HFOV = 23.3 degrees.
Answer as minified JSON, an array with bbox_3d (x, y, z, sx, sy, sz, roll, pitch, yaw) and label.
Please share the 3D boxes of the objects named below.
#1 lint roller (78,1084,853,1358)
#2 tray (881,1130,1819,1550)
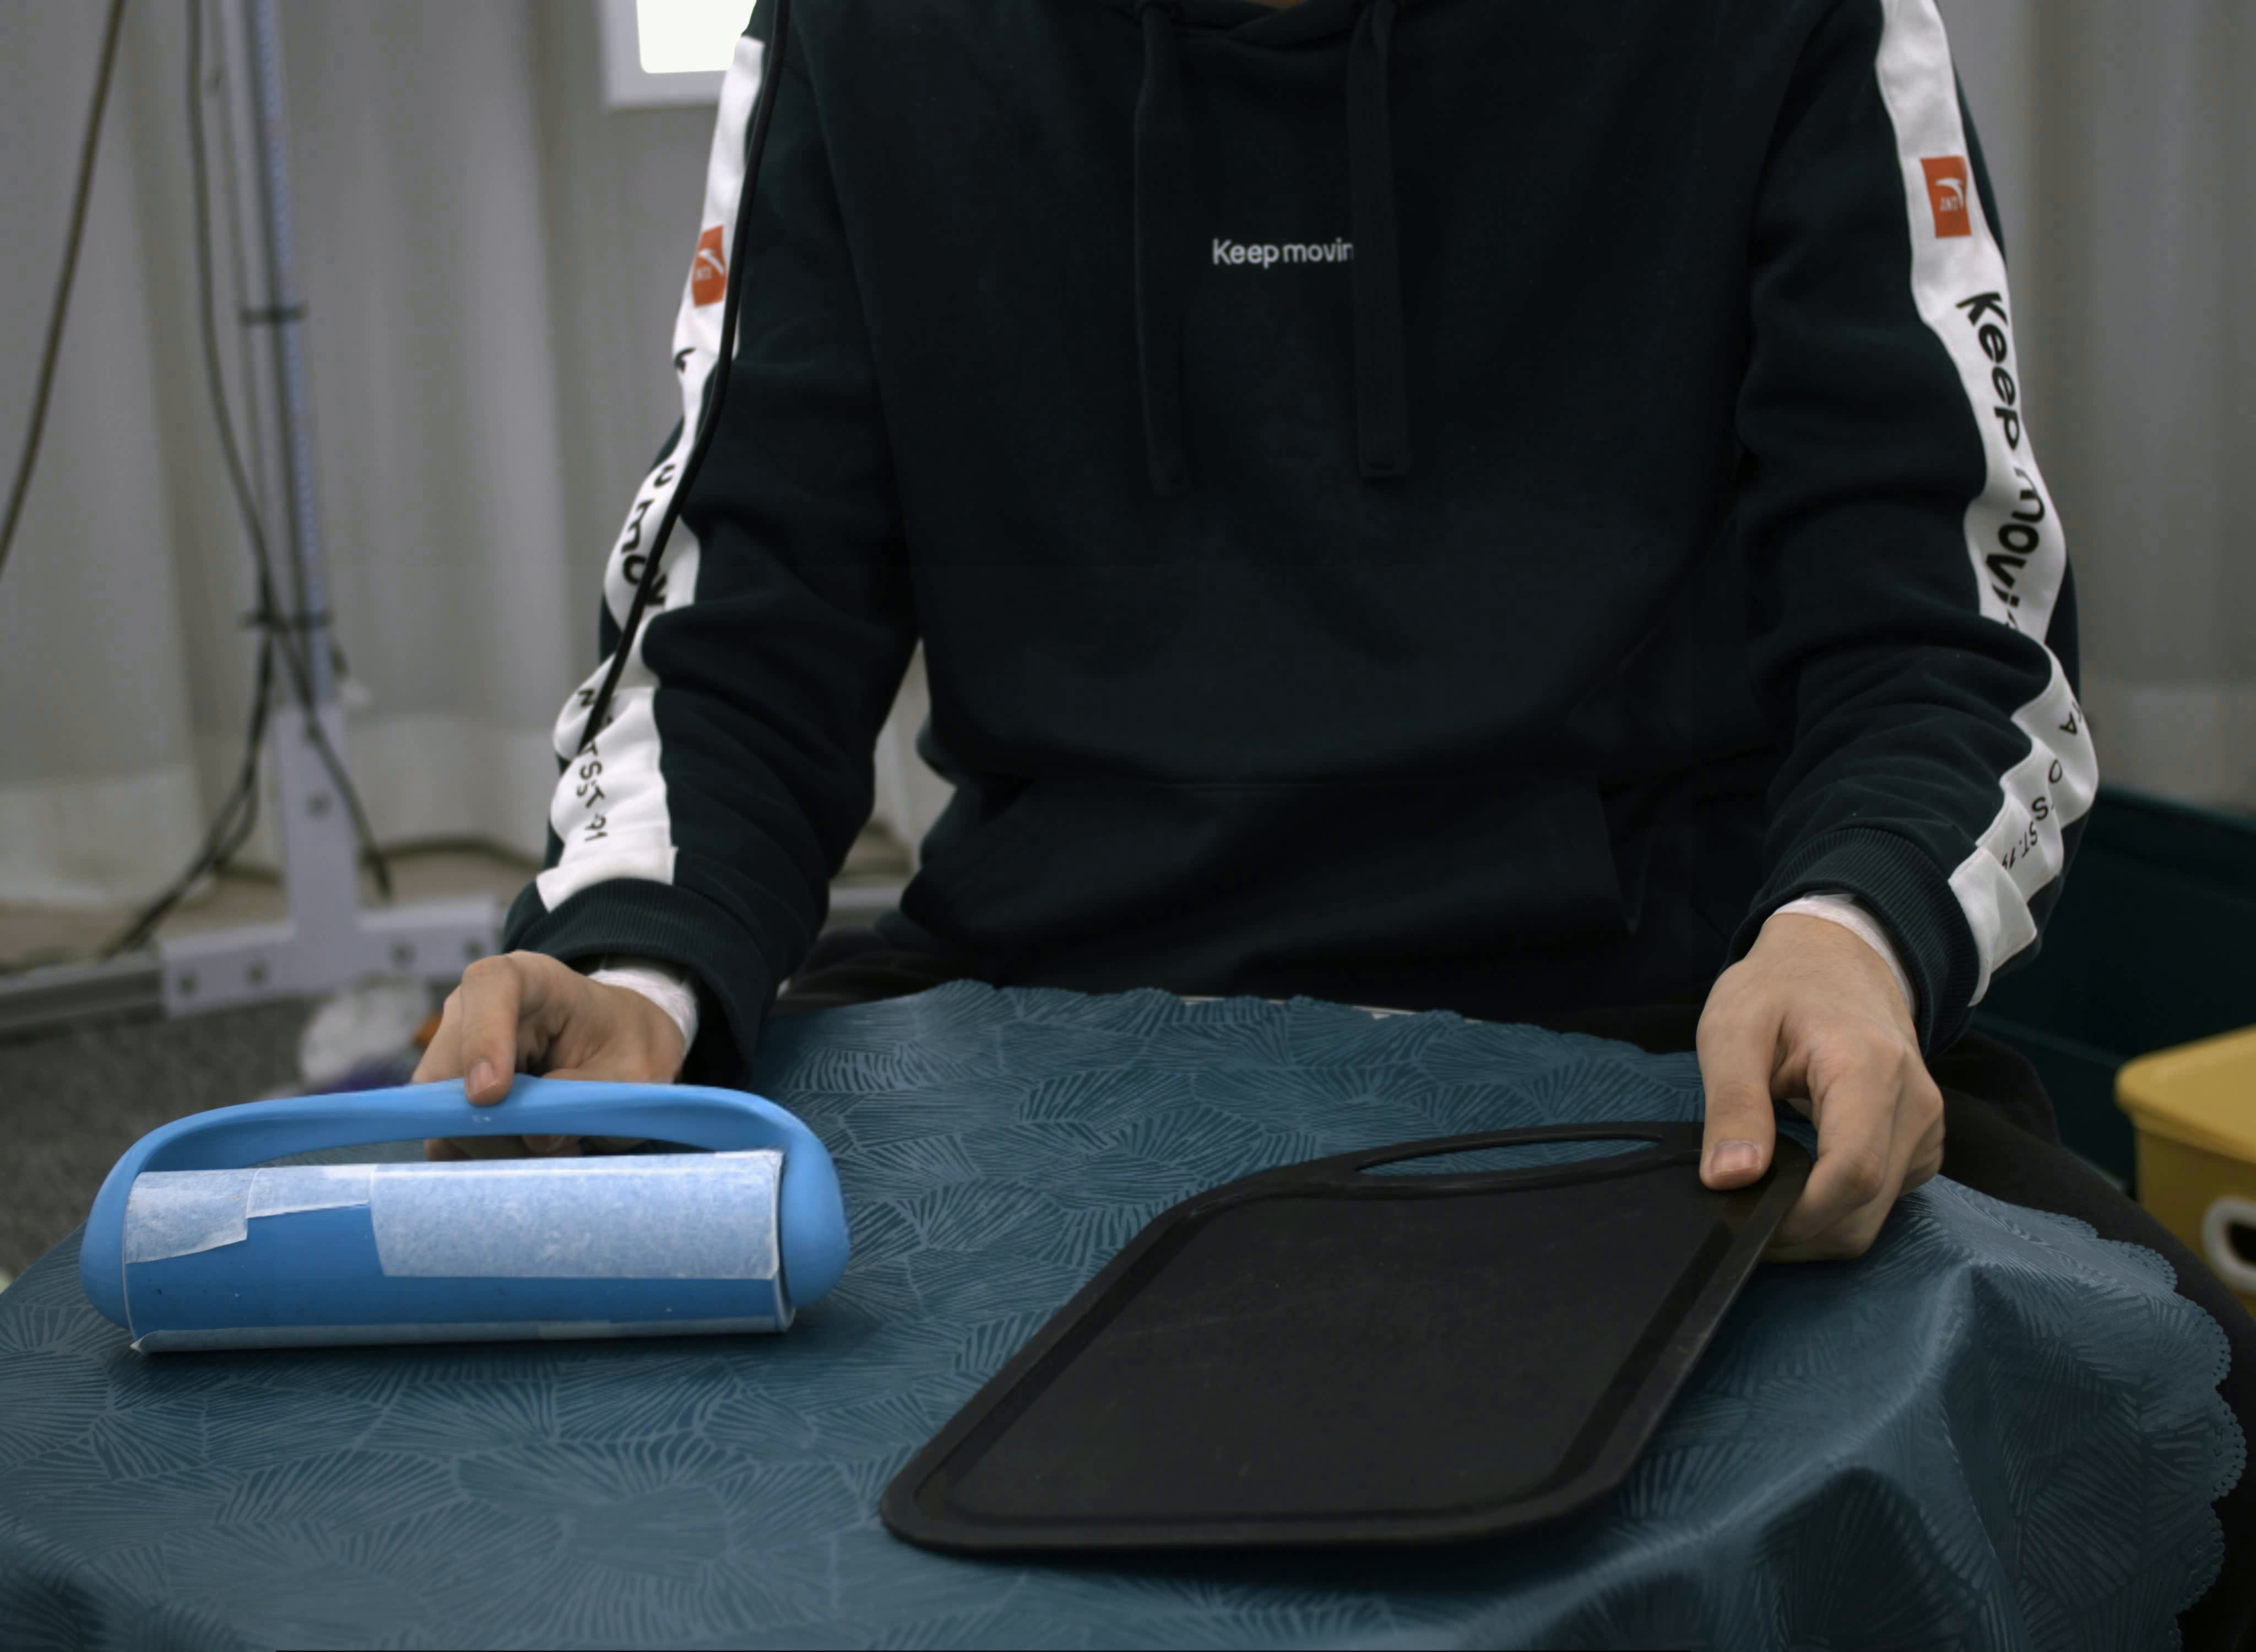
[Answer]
[{"bbox_3d":[-0.195,0.109,1.665,0.228,0.067,0.181,-4,15,1],"label":"lint roller"},{"bbox_3d":[0.071,0.139,1.548,0.211,0.010,0.326,-5,14,22],"label":"tray"}]
